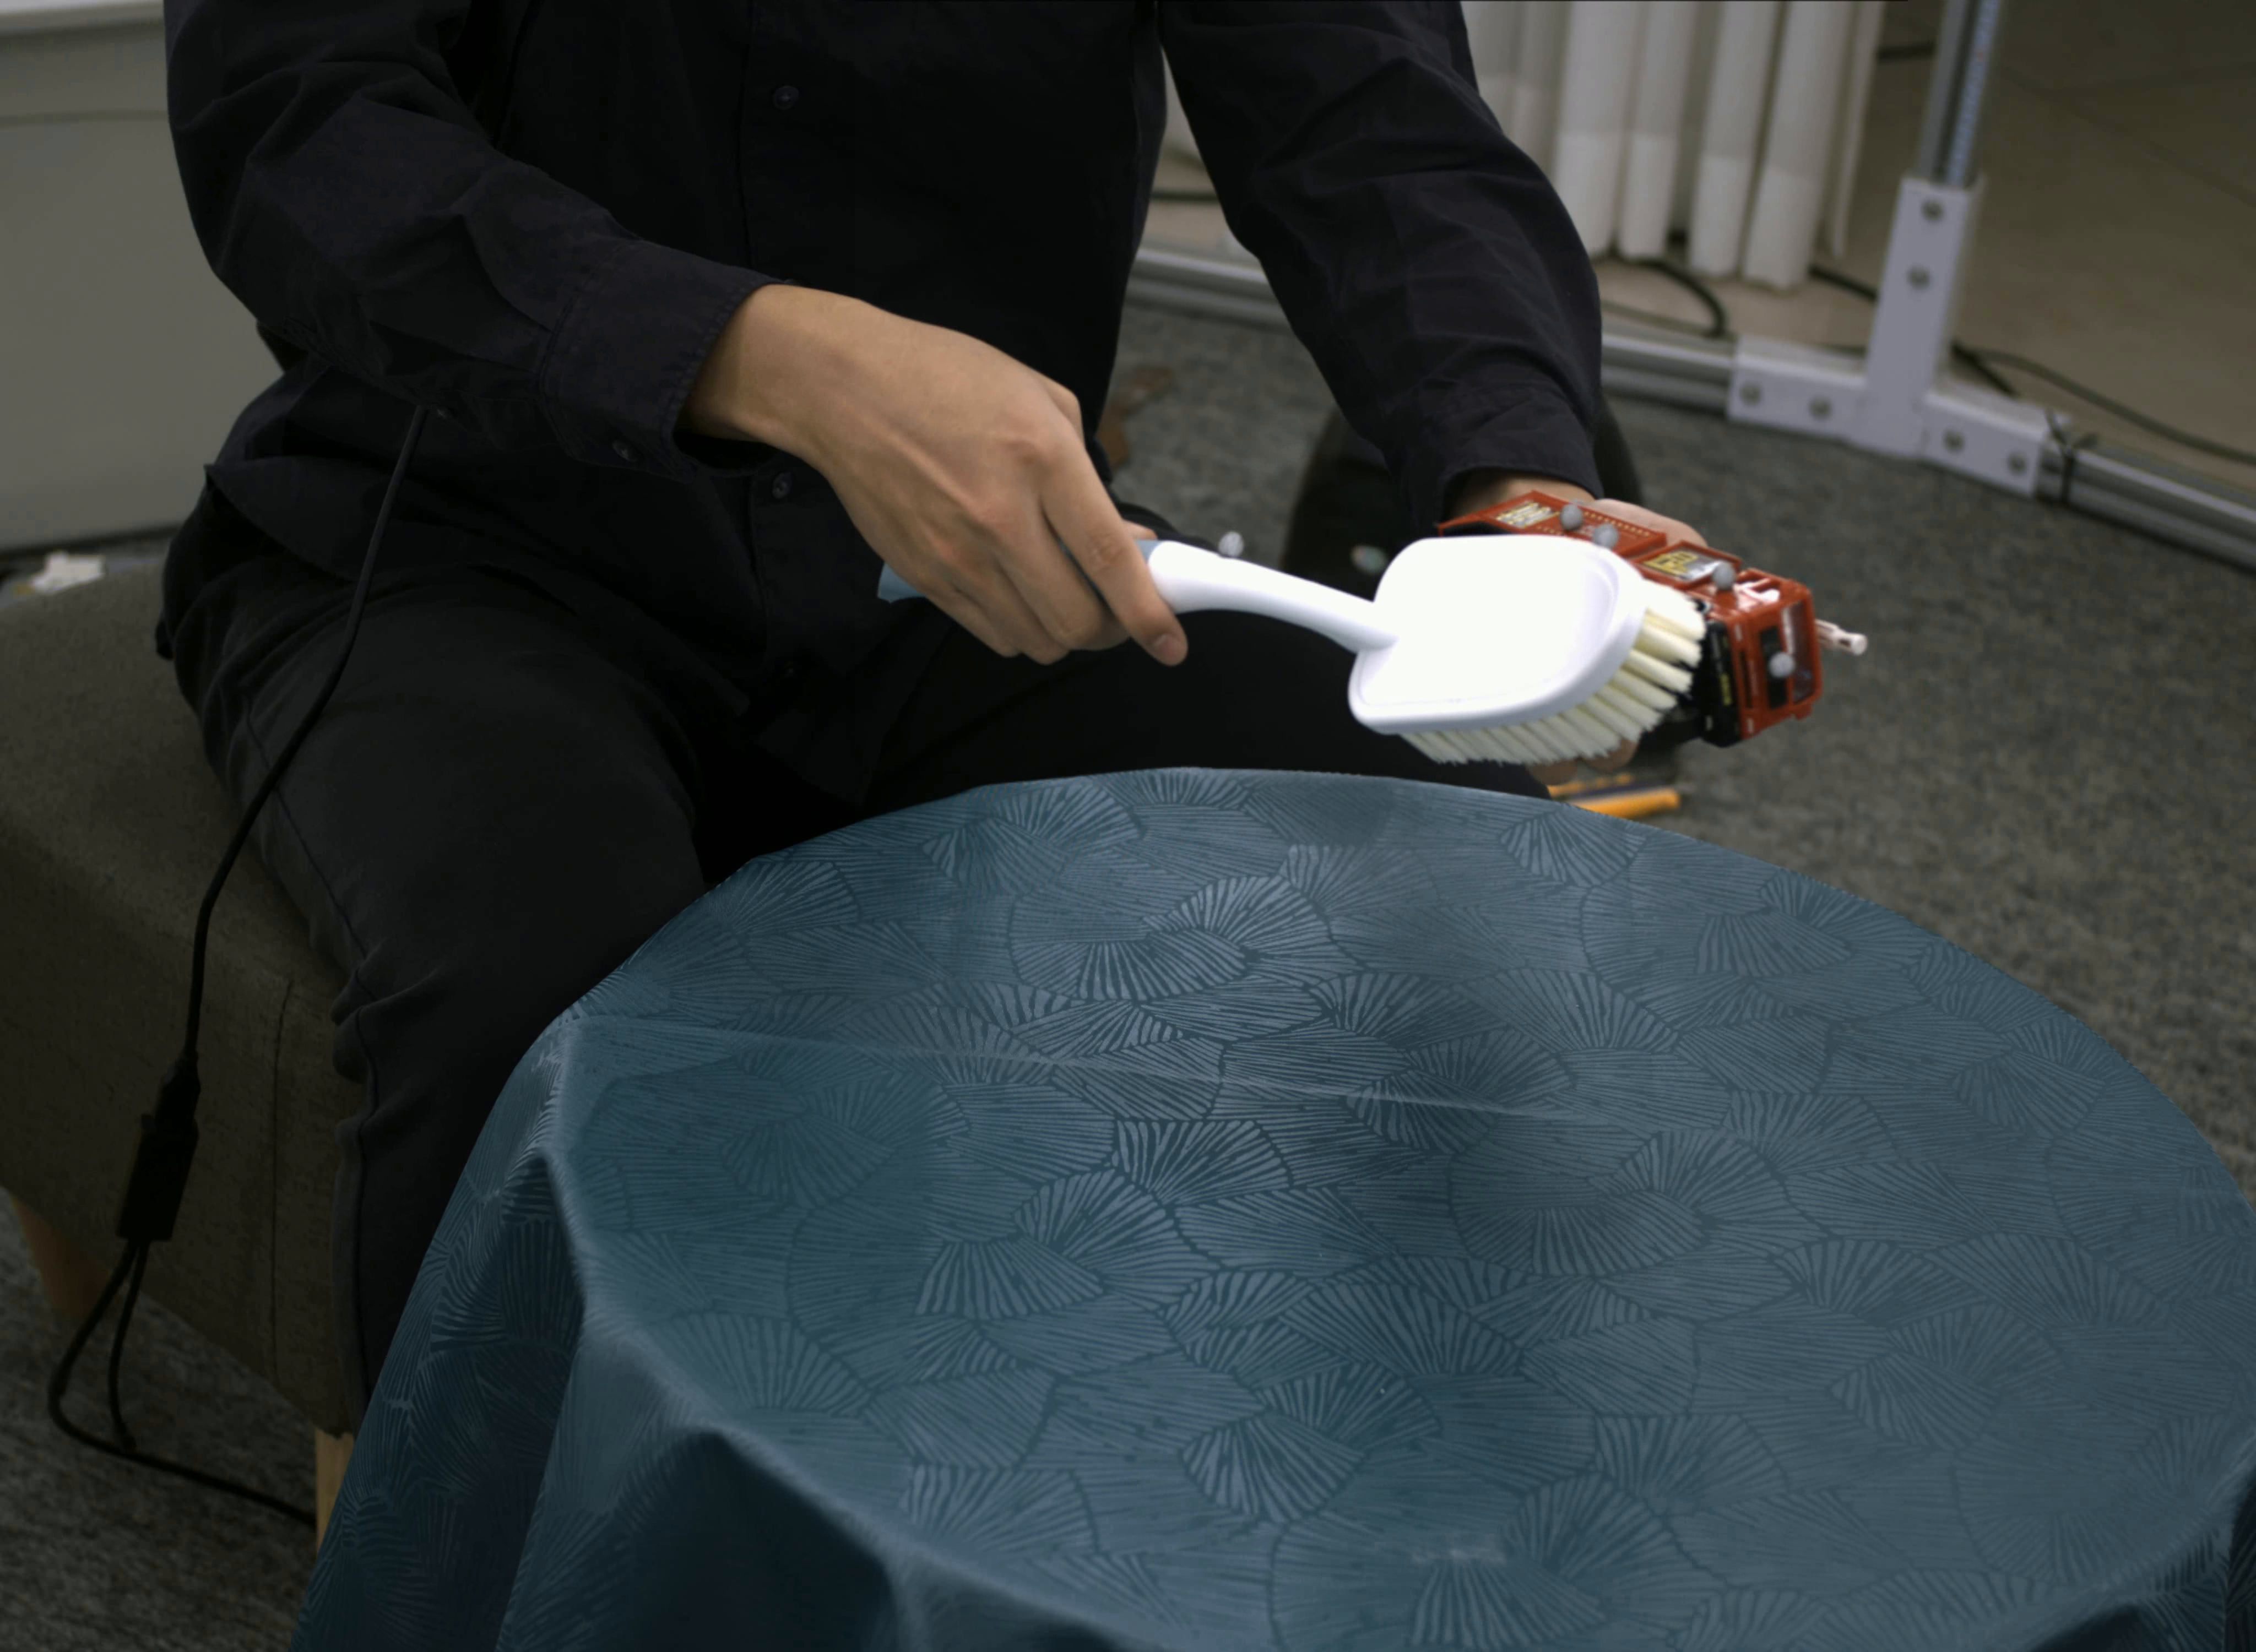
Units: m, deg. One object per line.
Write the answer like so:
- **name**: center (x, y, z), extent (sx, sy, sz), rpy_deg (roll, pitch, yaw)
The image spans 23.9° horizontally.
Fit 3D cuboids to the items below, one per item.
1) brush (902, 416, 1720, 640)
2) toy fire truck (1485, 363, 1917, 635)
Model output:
- **brush**: center (0.065, -0.110, 1.813), extent (0.327, 0.084, 0.083), rpy_deg (6, 36, 39)
- **toy fire truck**: center (0.184, -0.111, 1.782), extent (0.070, 0.054, 0.169), rpy_deg (-23, 25, -26)
